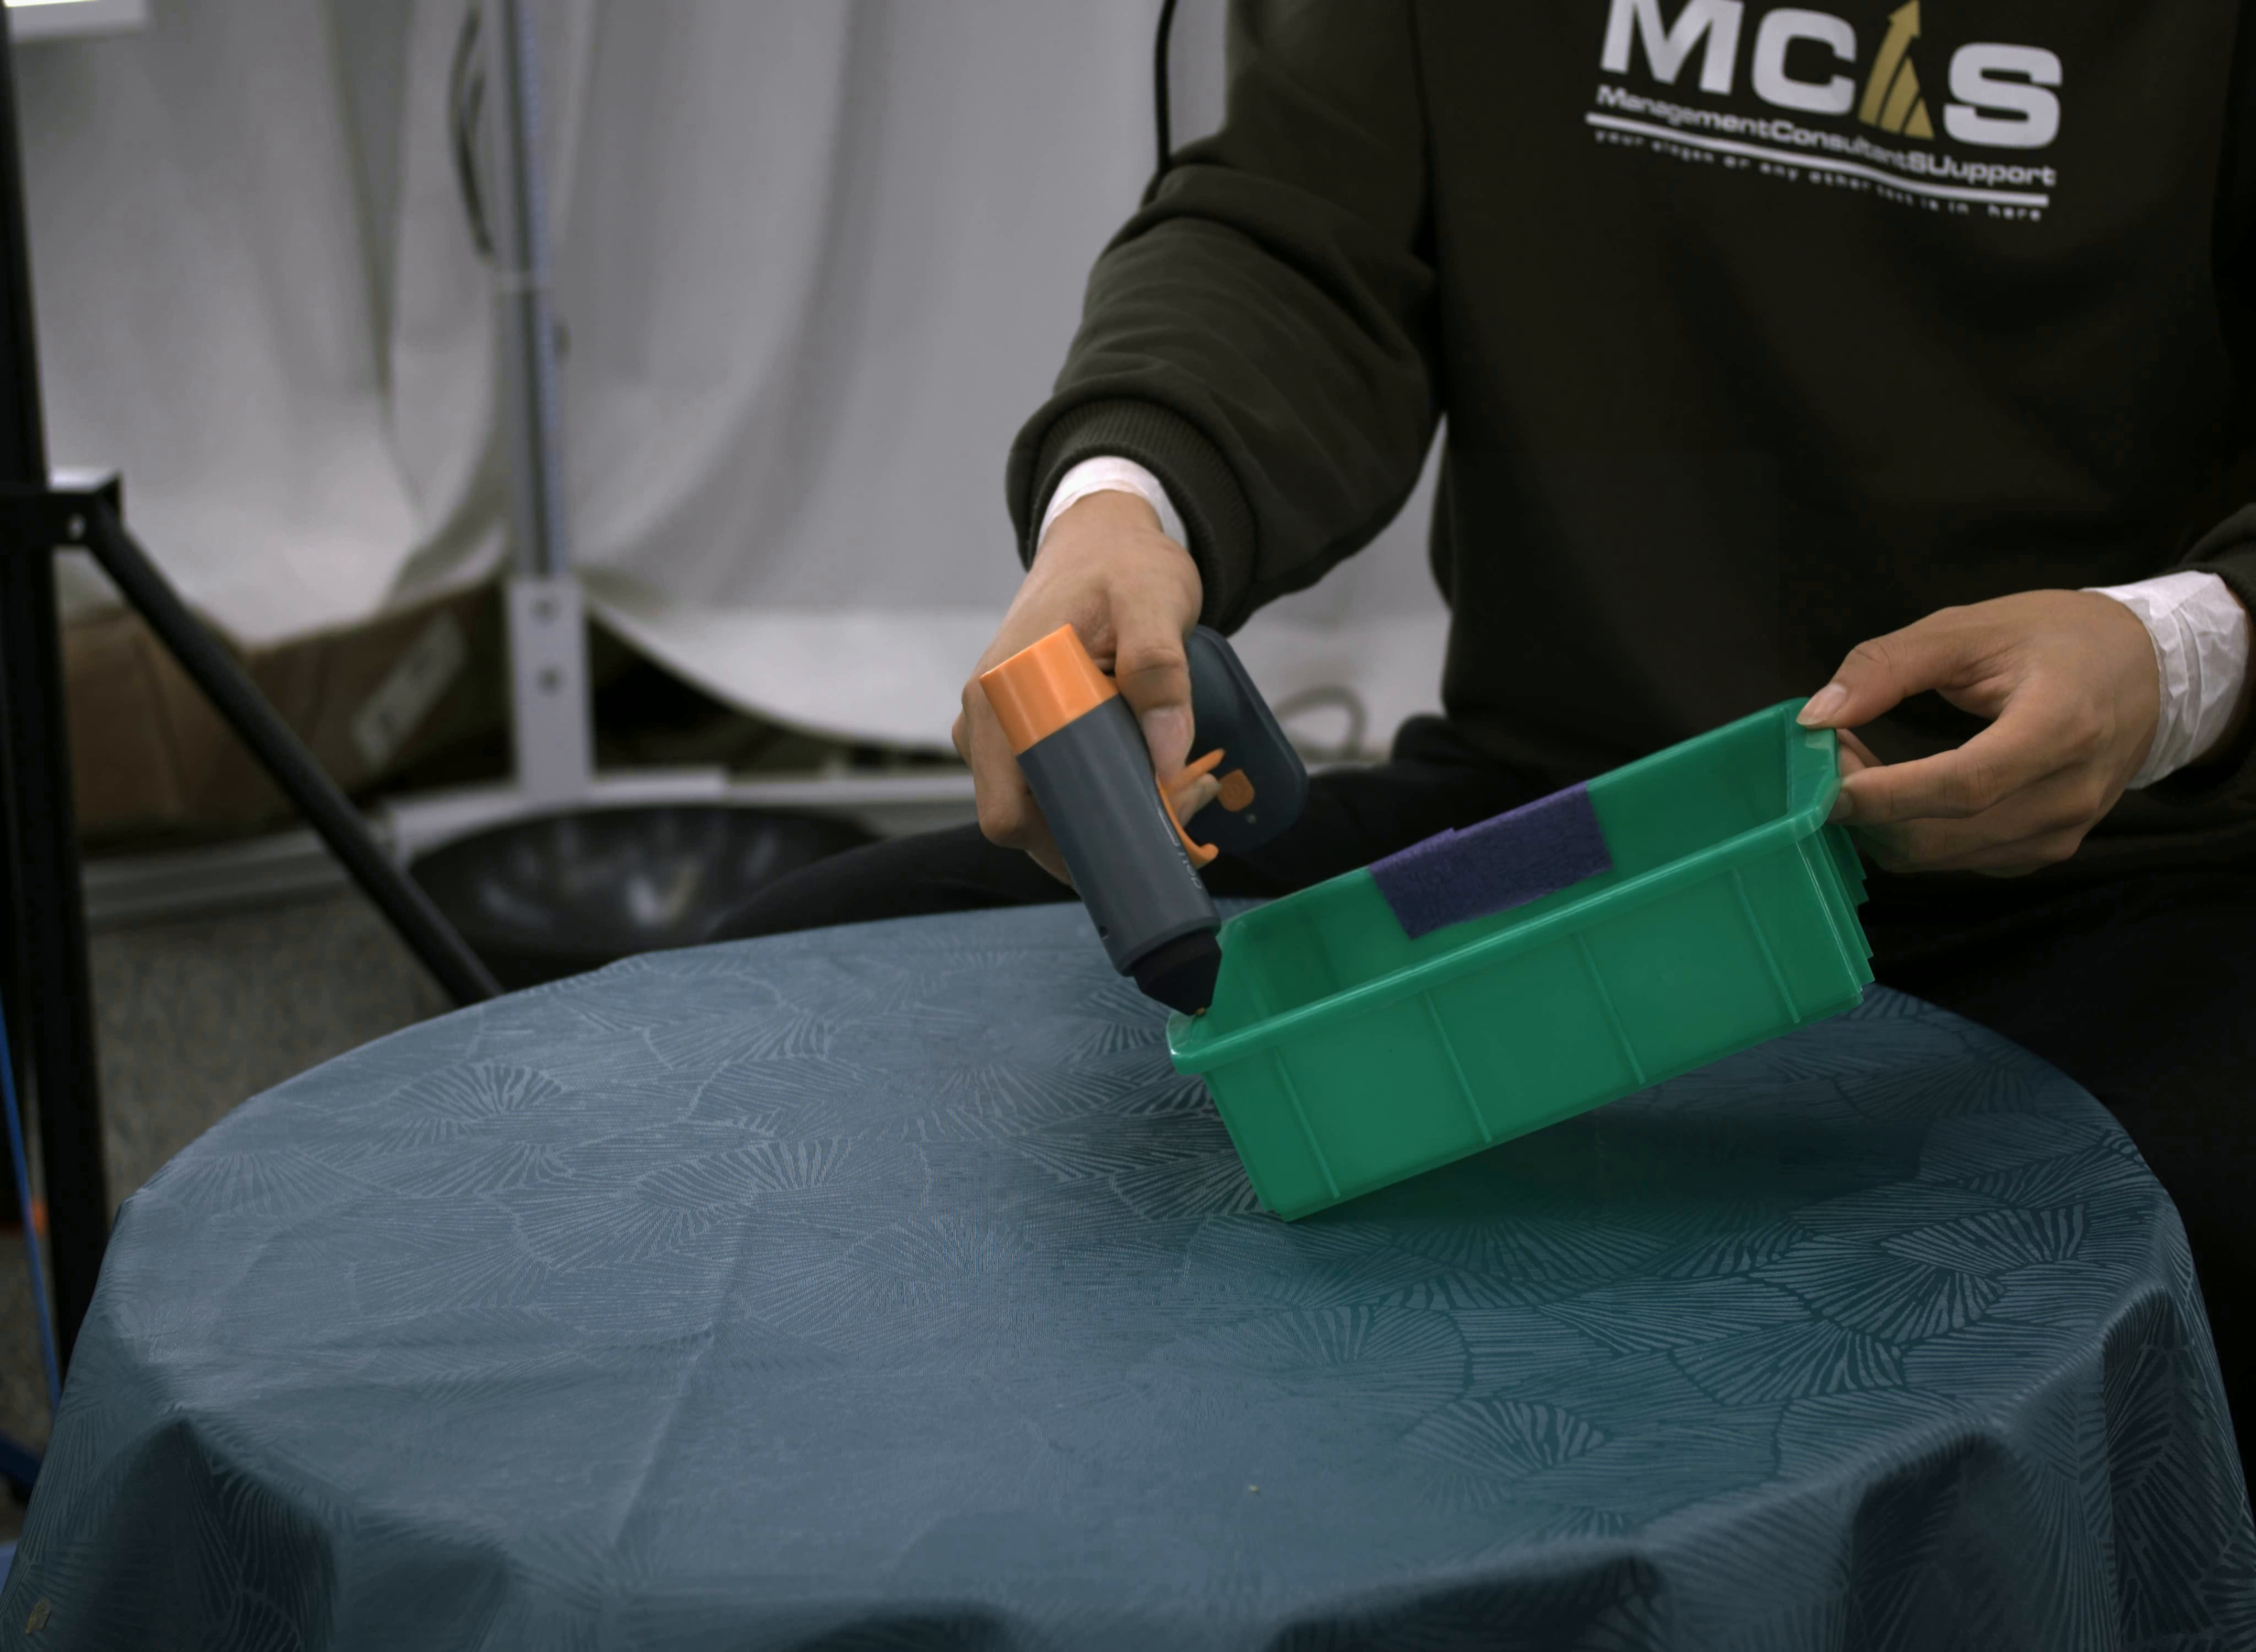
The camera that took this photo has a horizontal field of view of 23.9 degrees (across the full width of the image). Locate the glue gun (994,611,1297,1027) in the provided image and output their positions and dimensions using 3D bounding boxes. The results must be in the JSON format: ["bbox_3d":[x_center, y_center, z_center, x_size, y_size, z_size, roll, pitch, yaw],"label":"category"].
[{"bbox_3d":[0.008,-0.009,1.593,0.041,0.118,0.138,-24,5,22],"label":"glue gun"}]

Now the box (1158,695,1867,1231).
[{"bbox_3d":[0.118,0.042,1.552,0.211,0.065,0.138,-23,11,12],"label":"box"}]
